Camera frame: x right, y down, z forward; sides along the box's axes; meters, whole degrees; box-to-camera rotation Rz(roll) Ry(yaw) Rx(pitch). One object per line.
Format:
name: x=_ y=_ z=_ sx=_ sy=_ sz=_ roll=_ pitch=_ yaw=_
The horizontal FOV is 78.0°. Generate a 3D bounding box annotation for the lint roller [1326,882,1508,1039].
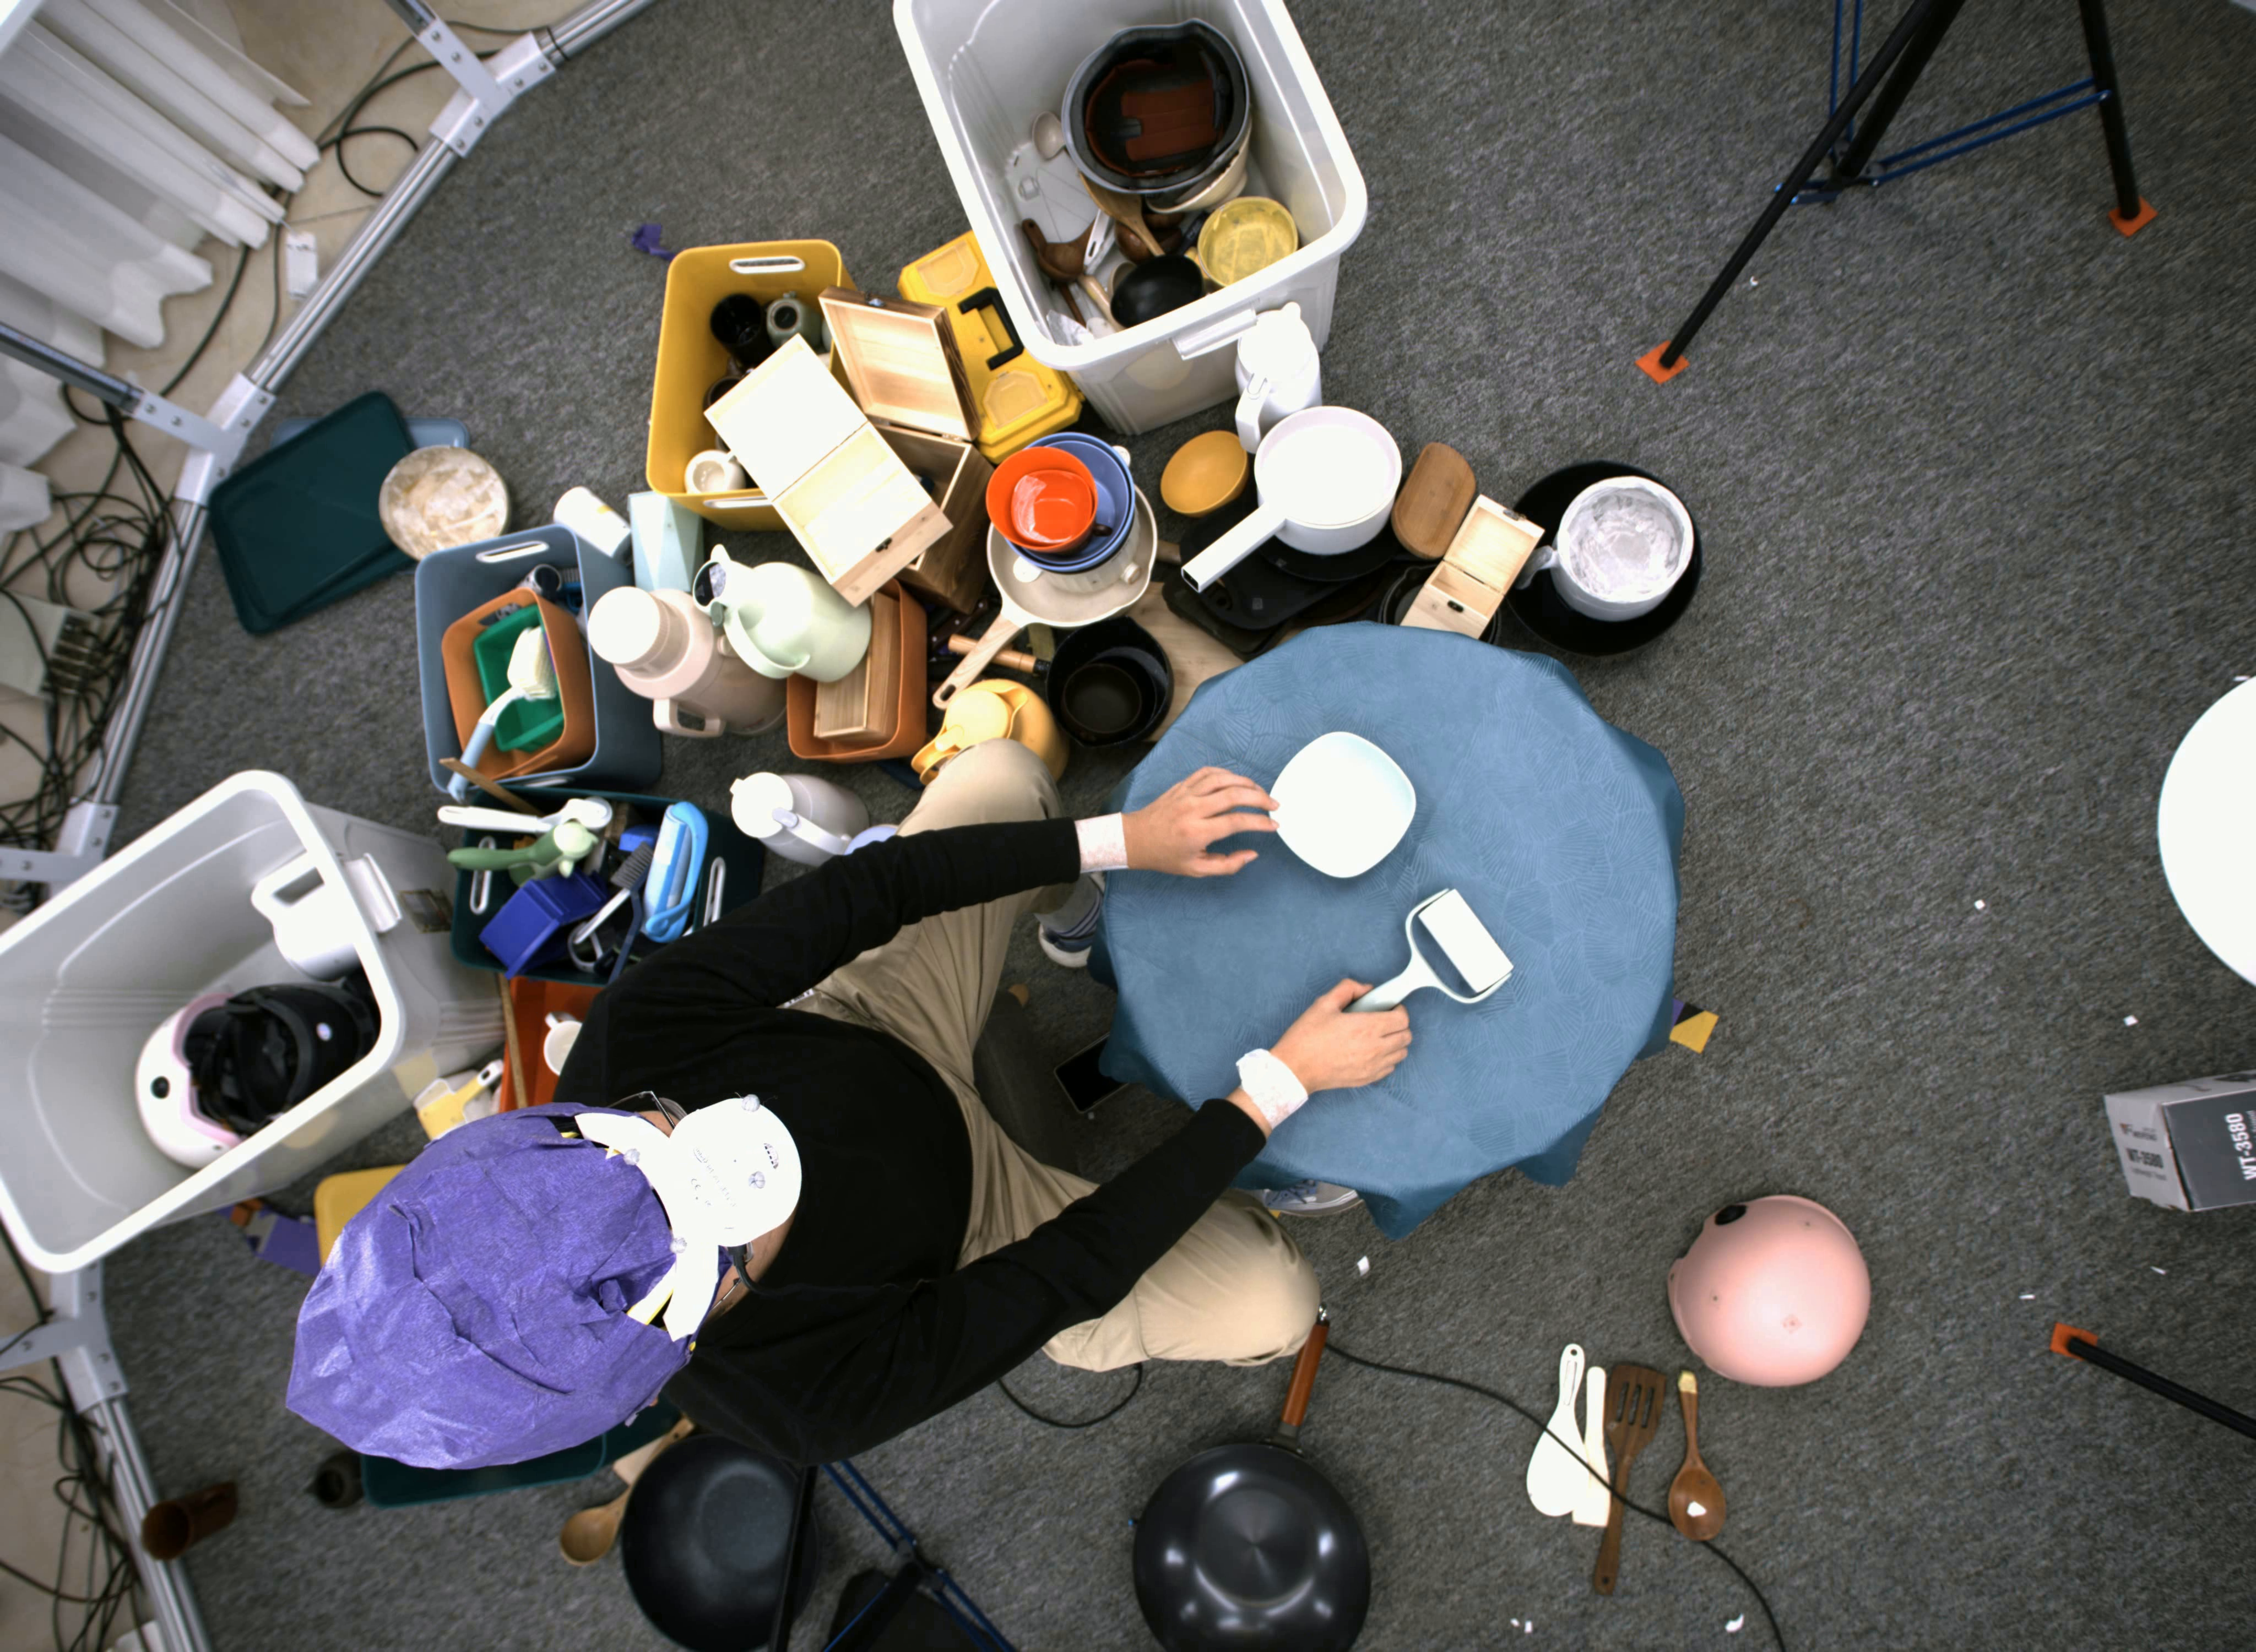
lint roller: x=0.284 y=0.154 z=1.430 sx=0.199 sy=0.048 sz=0.116 roll=-37 pitch=82 yaw=8

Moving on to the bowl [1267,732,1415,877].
bowl: x=0.222 y=-0.021 z=1.446 sx=0.152 sy=0.059 sz=0.151 roll=-1 pitch=86 yaw=9
